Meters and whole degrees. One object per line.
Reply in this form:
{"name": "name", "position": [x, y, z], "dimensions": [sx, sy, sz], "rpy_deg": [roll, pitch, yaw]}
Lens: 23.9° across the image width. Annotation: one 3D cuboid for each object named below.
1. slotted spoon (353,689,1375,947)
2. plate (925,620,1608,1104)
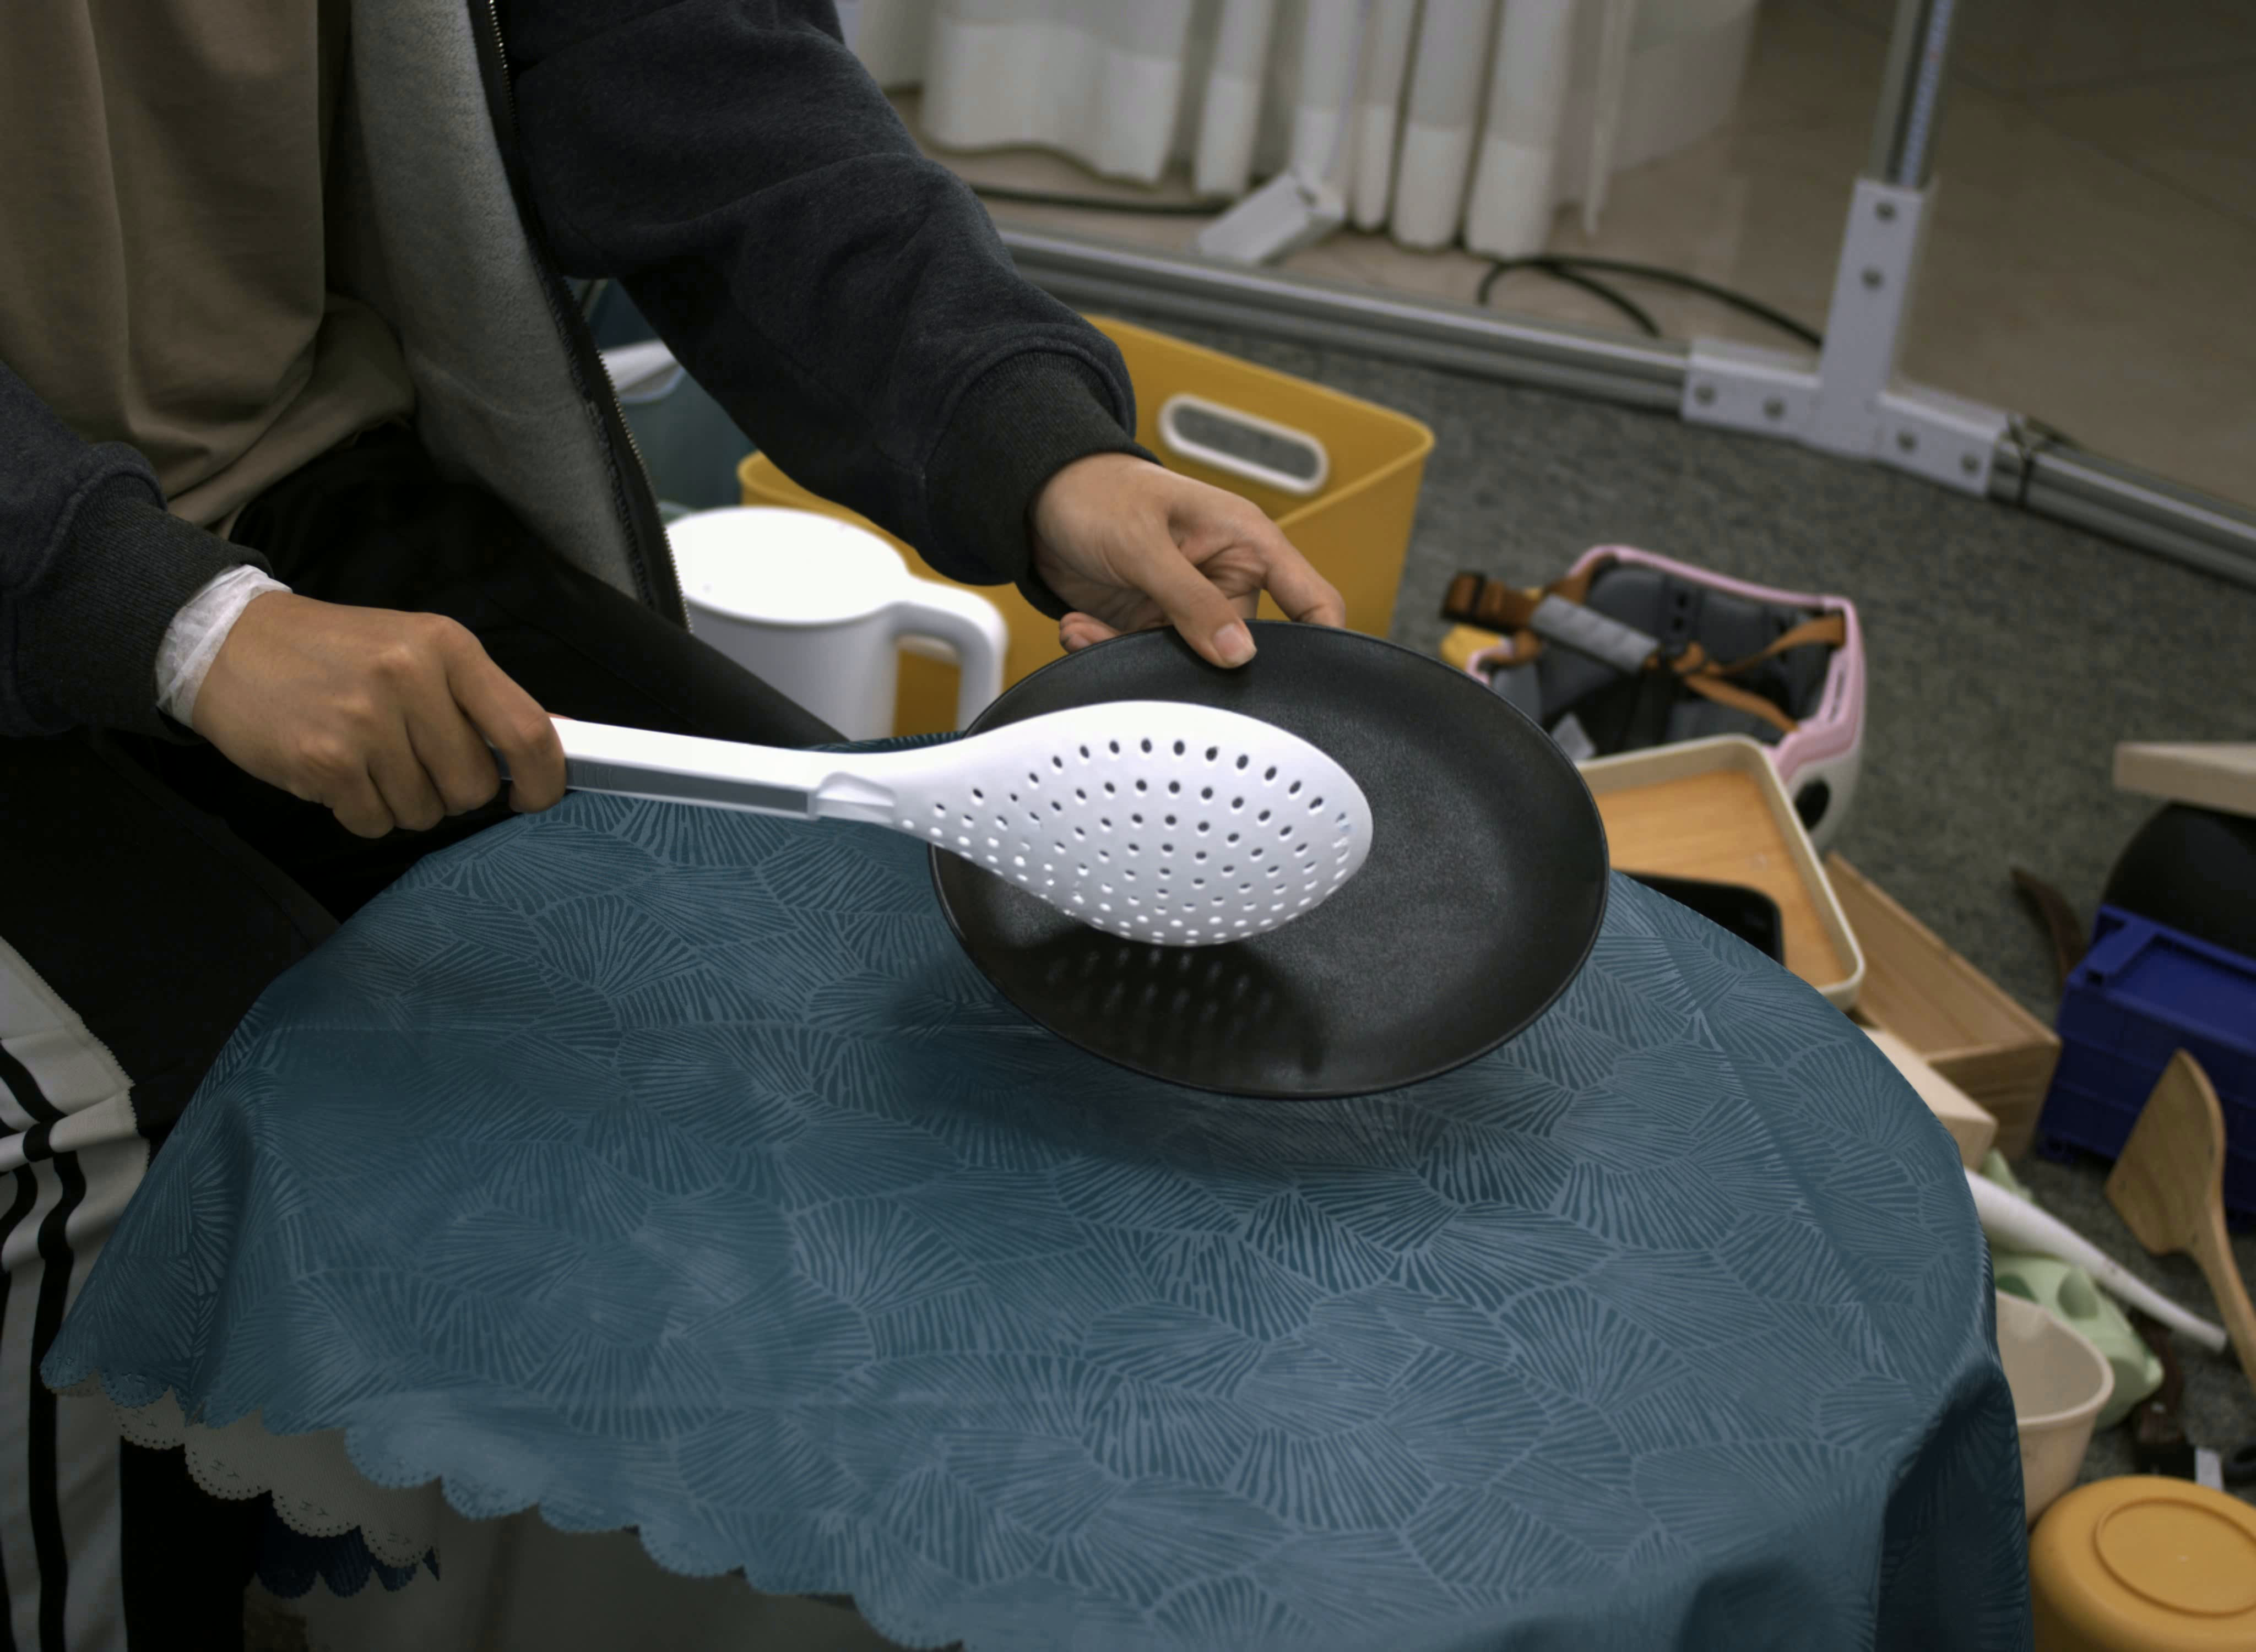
{"name": "slotted spoon", "position": [-0.091, -0.013, 1.814], "dimensions": [0.349, 0.135, 0.046], "rpy_deg": [11, 56, 5]}
{"name": "plate", "position": [0.049, 0.015, 1.891], "dimensions": [0.243, 0.023, 0.246], "rpy_deg": [2, 43, -2]}
